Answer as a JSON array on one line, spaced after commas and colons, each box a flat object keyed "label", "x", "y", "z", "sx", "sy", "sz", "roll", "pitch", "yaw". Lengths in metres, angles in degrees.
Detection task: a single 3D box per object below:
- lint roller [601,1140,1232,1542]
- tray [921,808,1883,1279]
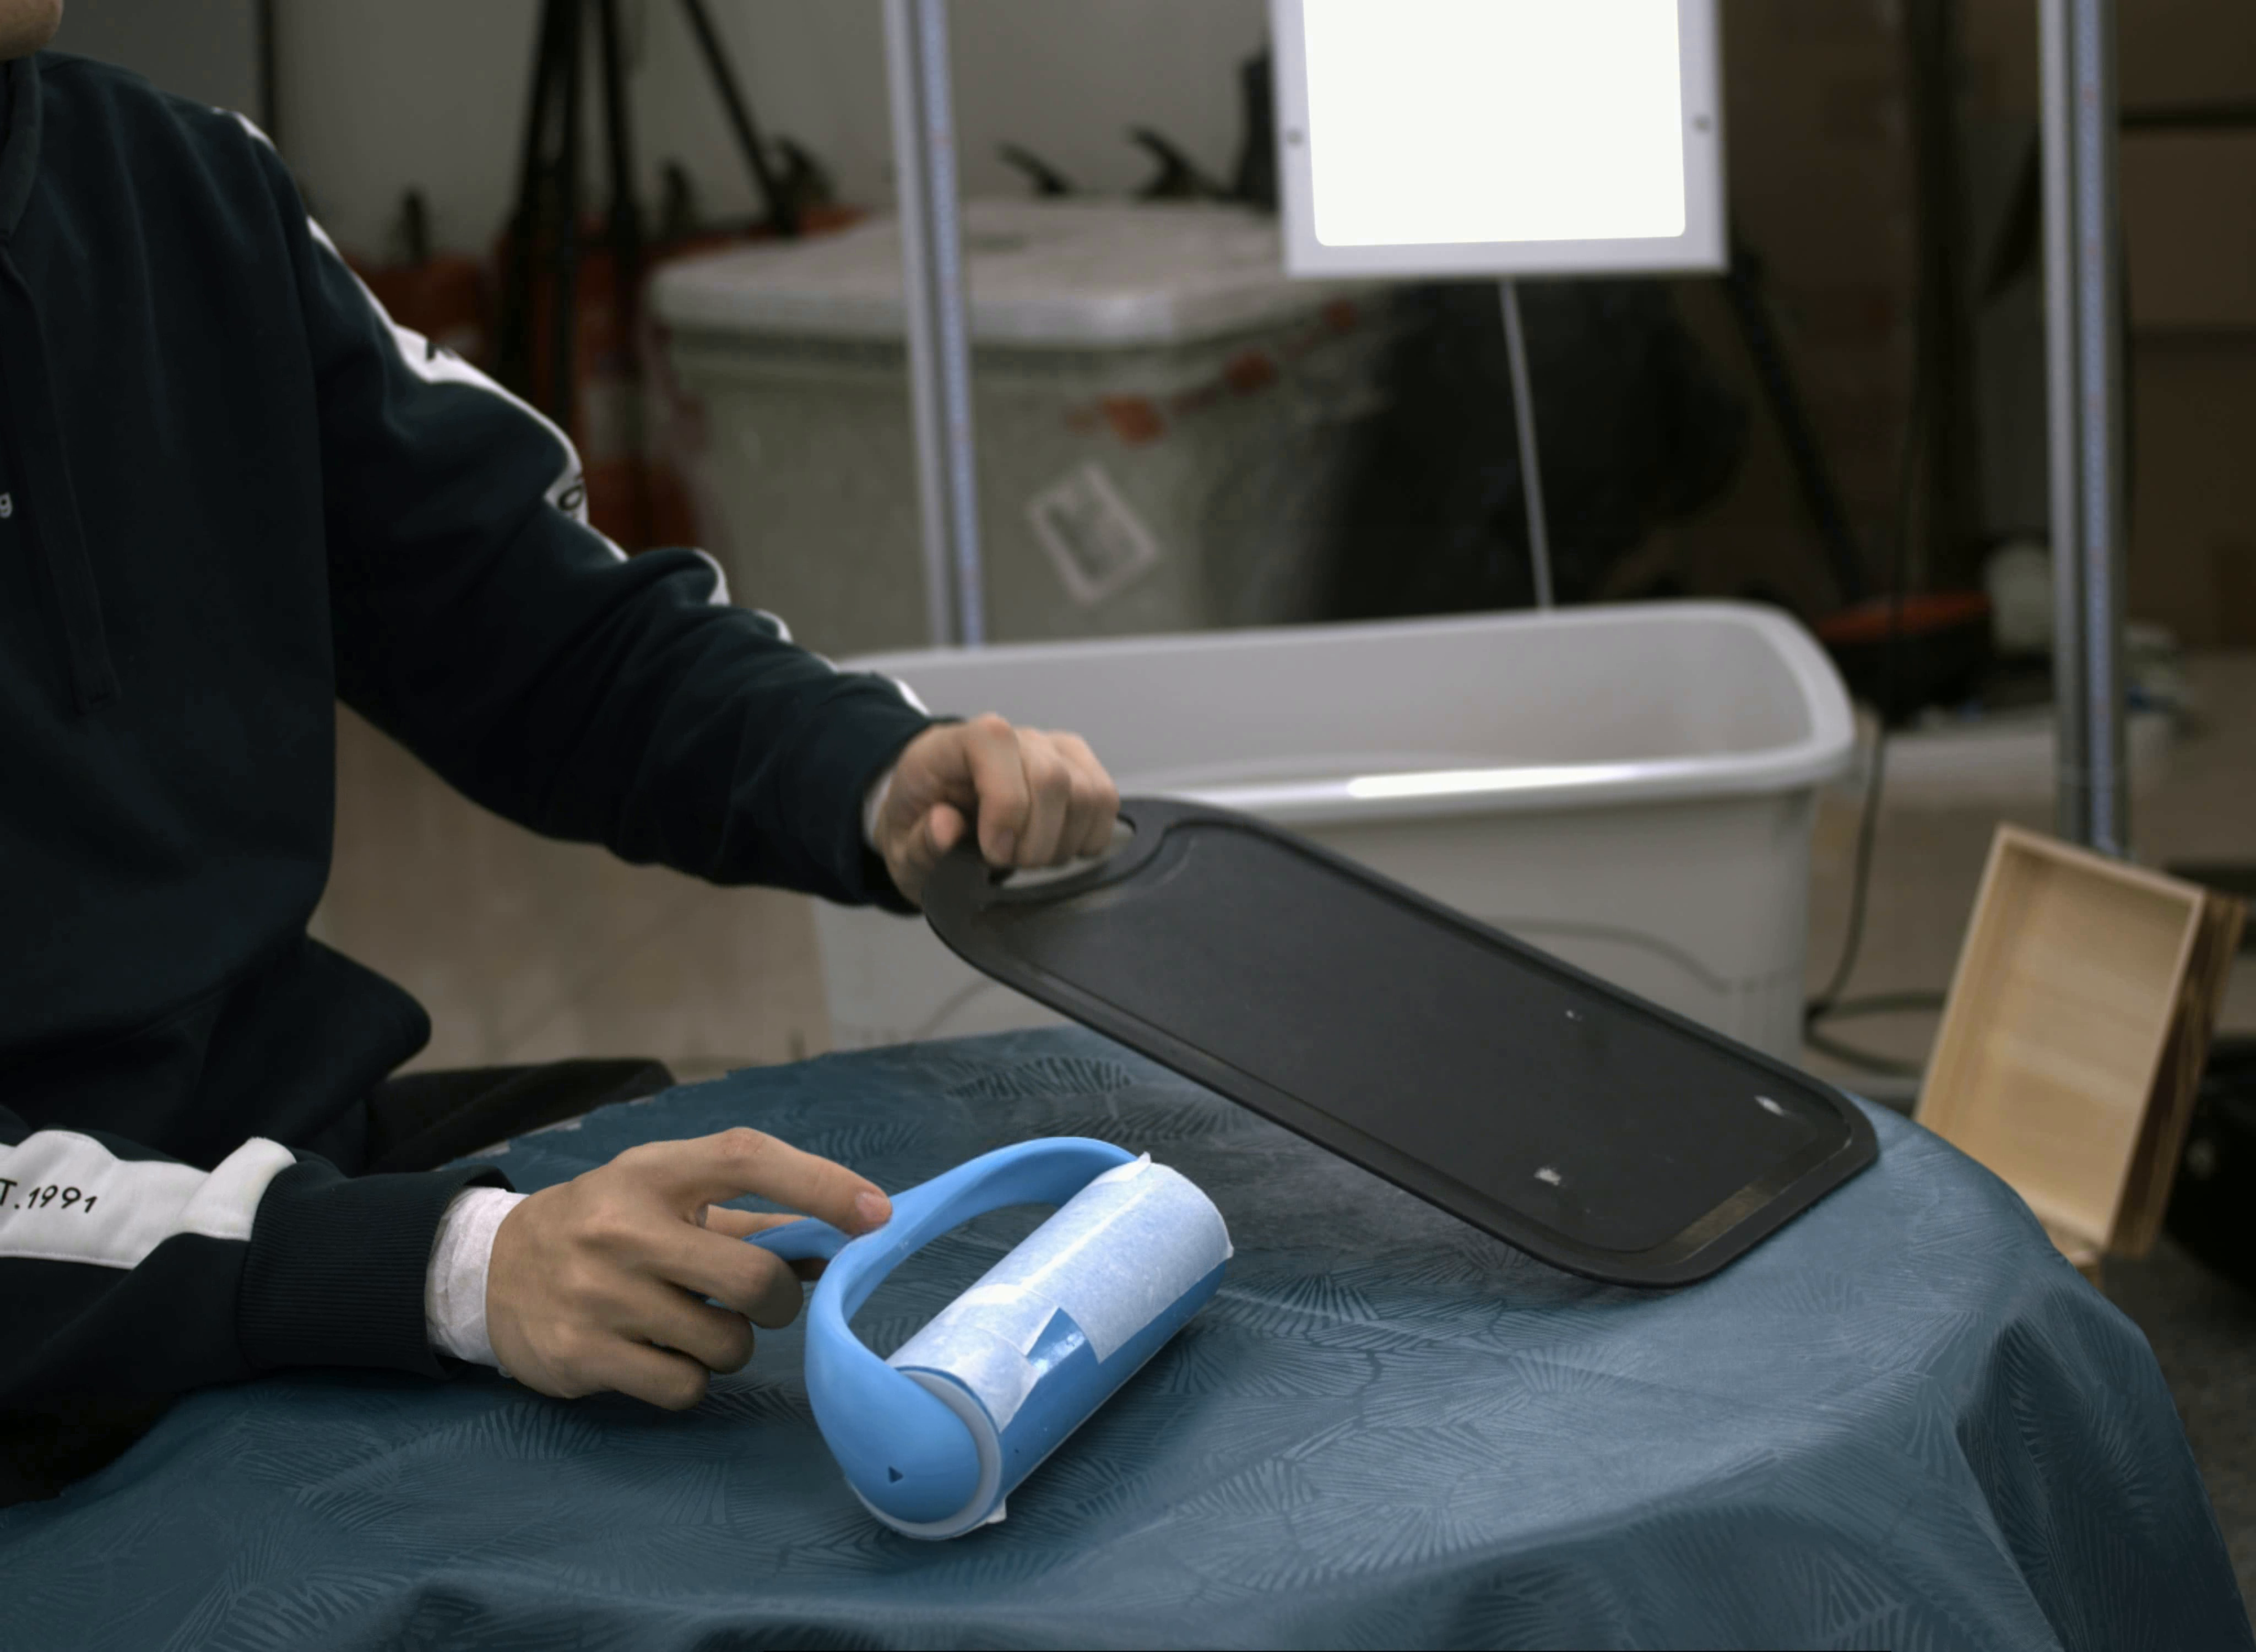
[{"label": "lint roller", "x": -0.081, "y": 0.152, "z": 1.691, "sx": 0.182, "sy": 0.068, "sz": 0.225, "roll": 4, "pitch": 18, "yaw": 19}, {"label": "tray", "x": 0.087, "y": 0.065, "z": 1.871, "sx": 0.330, "sy": 0.010, "sz": 0.206, "roll": 25, "pitch": 25, "yaw": 27}]
